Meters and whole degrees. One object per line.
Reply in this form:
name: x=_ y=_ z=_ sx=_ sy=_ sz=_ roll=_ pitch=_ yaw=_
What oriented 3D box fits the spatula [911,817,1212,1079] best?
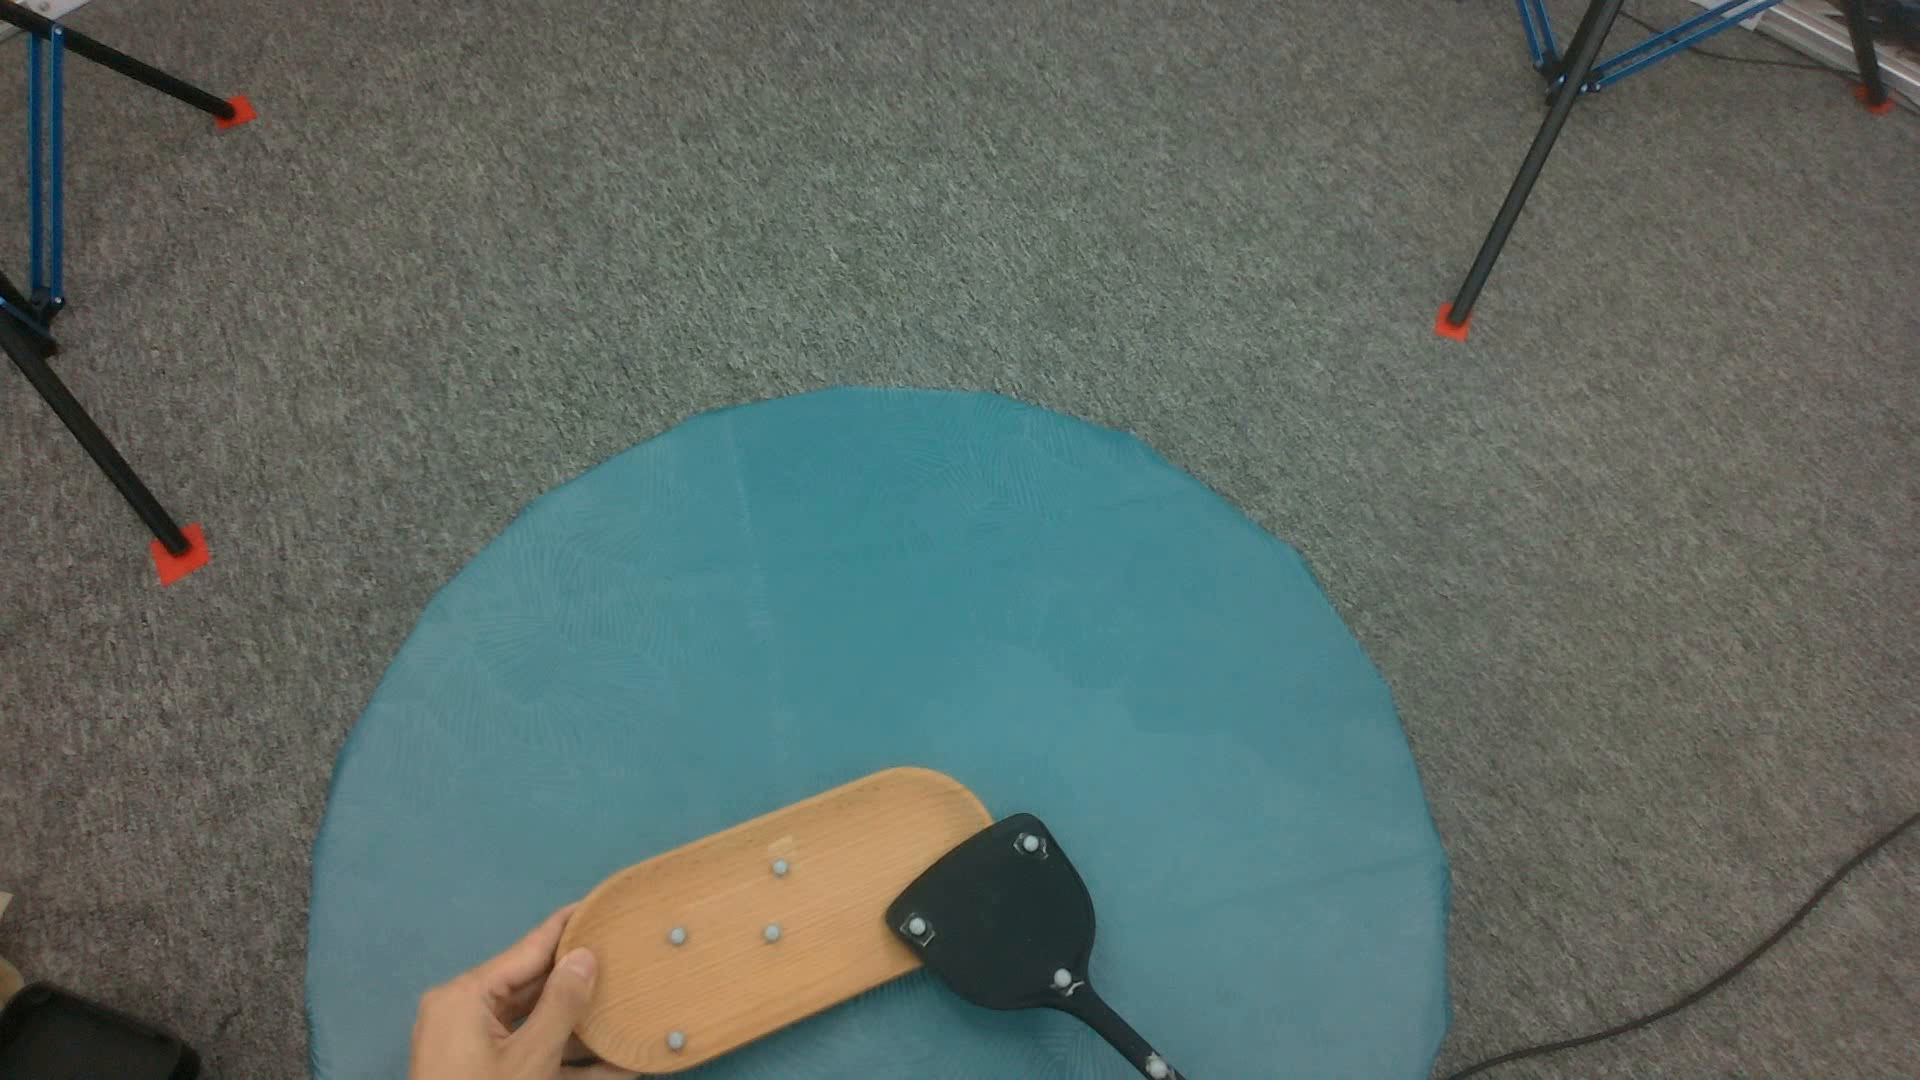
spatula: x=0.098 y=0.234 z=0.616 sx=0.100 sy=0.040 sz=0.326 roll=-32 pitch=33 yaw=-20

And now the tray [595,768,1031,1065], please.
tray: x=-0.072 y=0.191 z=0.712 sx=0.232 sy=0.020 sz=0.102 roll=-17 pitch=65 yaw=-20
